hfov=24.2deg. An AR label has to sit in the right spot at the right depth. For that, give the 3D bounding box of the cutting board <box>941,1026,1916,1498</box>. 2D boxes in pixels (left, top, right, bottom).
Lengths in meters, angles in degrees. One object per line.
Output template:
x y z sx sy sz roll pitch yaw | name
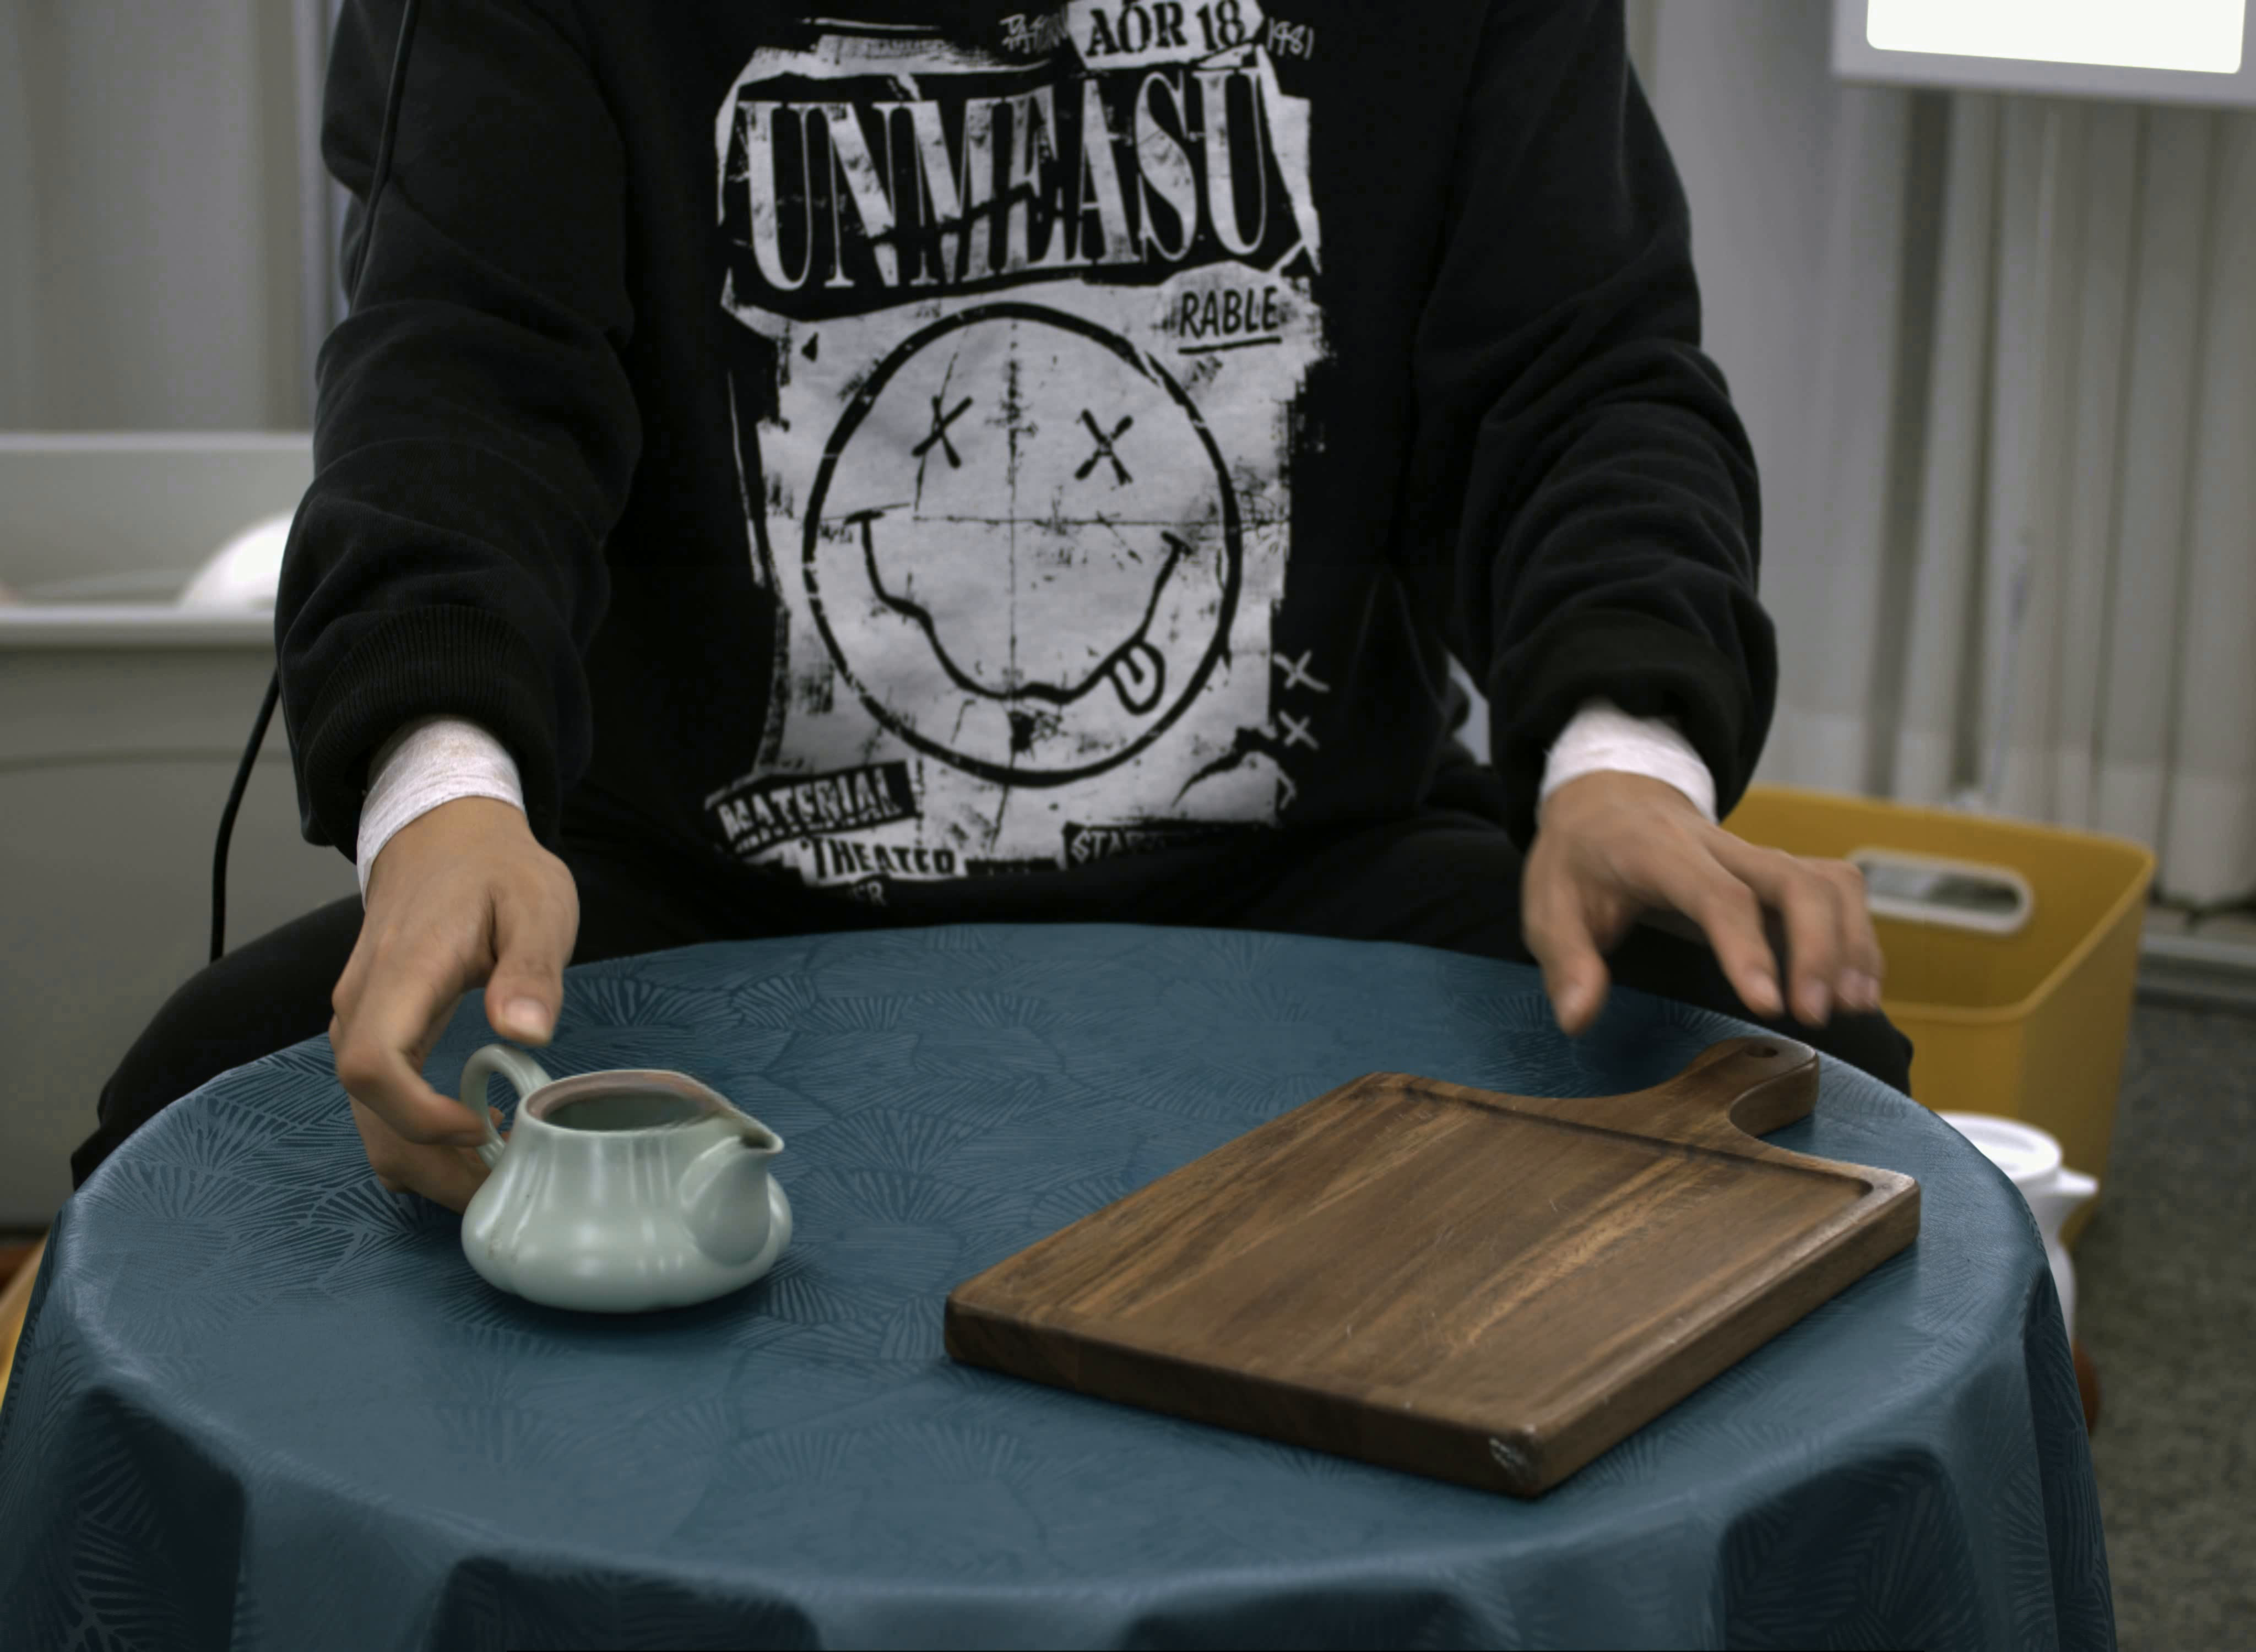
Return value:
0.118 0.116 1.573 0.198 0.023 0.353 10 18 30 | cutting board

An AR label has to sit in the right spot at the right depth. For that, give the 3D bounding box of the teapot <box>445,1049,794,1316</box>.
-0.149 0.104 1.535 0.135 0.062 0.096 13 23 38 | teapot
